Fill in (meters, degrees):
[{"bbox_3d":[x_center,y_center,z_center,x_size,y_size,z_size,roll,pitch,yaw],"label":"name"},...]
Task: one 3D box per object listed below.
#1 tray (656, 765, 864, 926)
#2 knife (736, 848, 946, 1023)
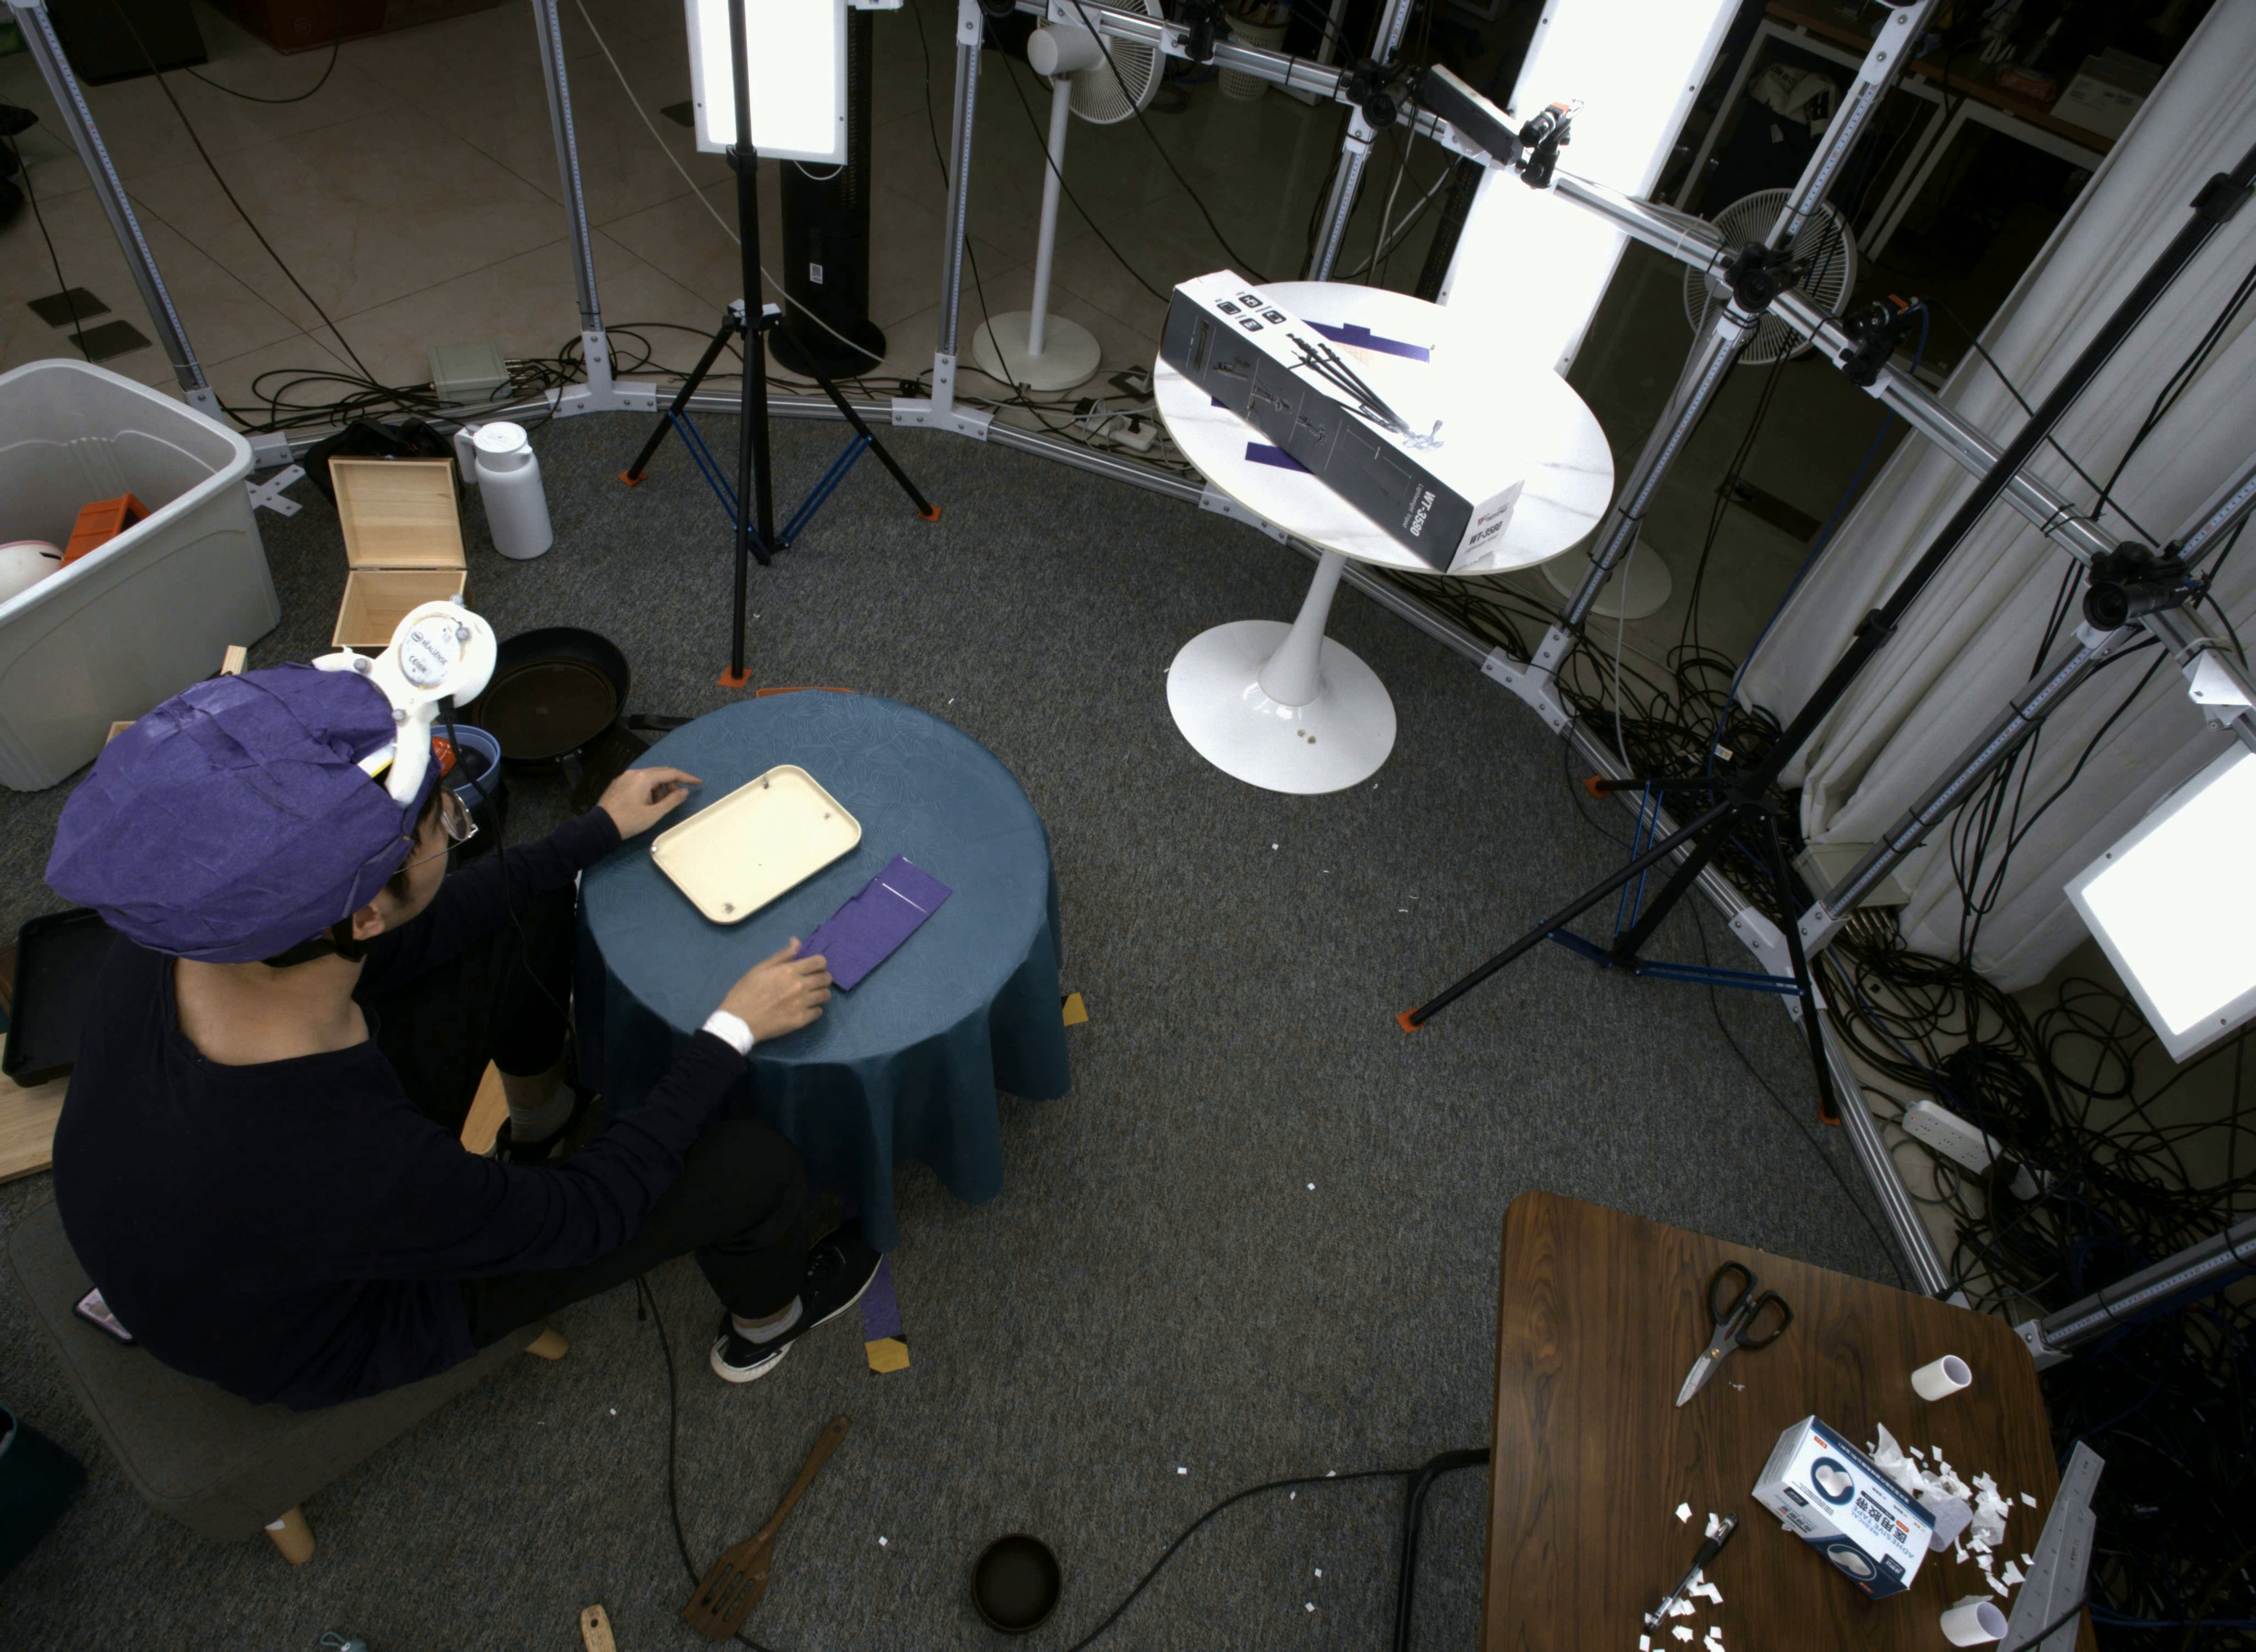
[{"bbox_3d":[-0.480,0.022,1.693,0.167,0.018,0.240,42,55,16],"label":"tray"},{"bbox_3d":[-0.350,0.144,1.630,0.102,0.033,0.314,33,53,11],"label":"knife"}]
